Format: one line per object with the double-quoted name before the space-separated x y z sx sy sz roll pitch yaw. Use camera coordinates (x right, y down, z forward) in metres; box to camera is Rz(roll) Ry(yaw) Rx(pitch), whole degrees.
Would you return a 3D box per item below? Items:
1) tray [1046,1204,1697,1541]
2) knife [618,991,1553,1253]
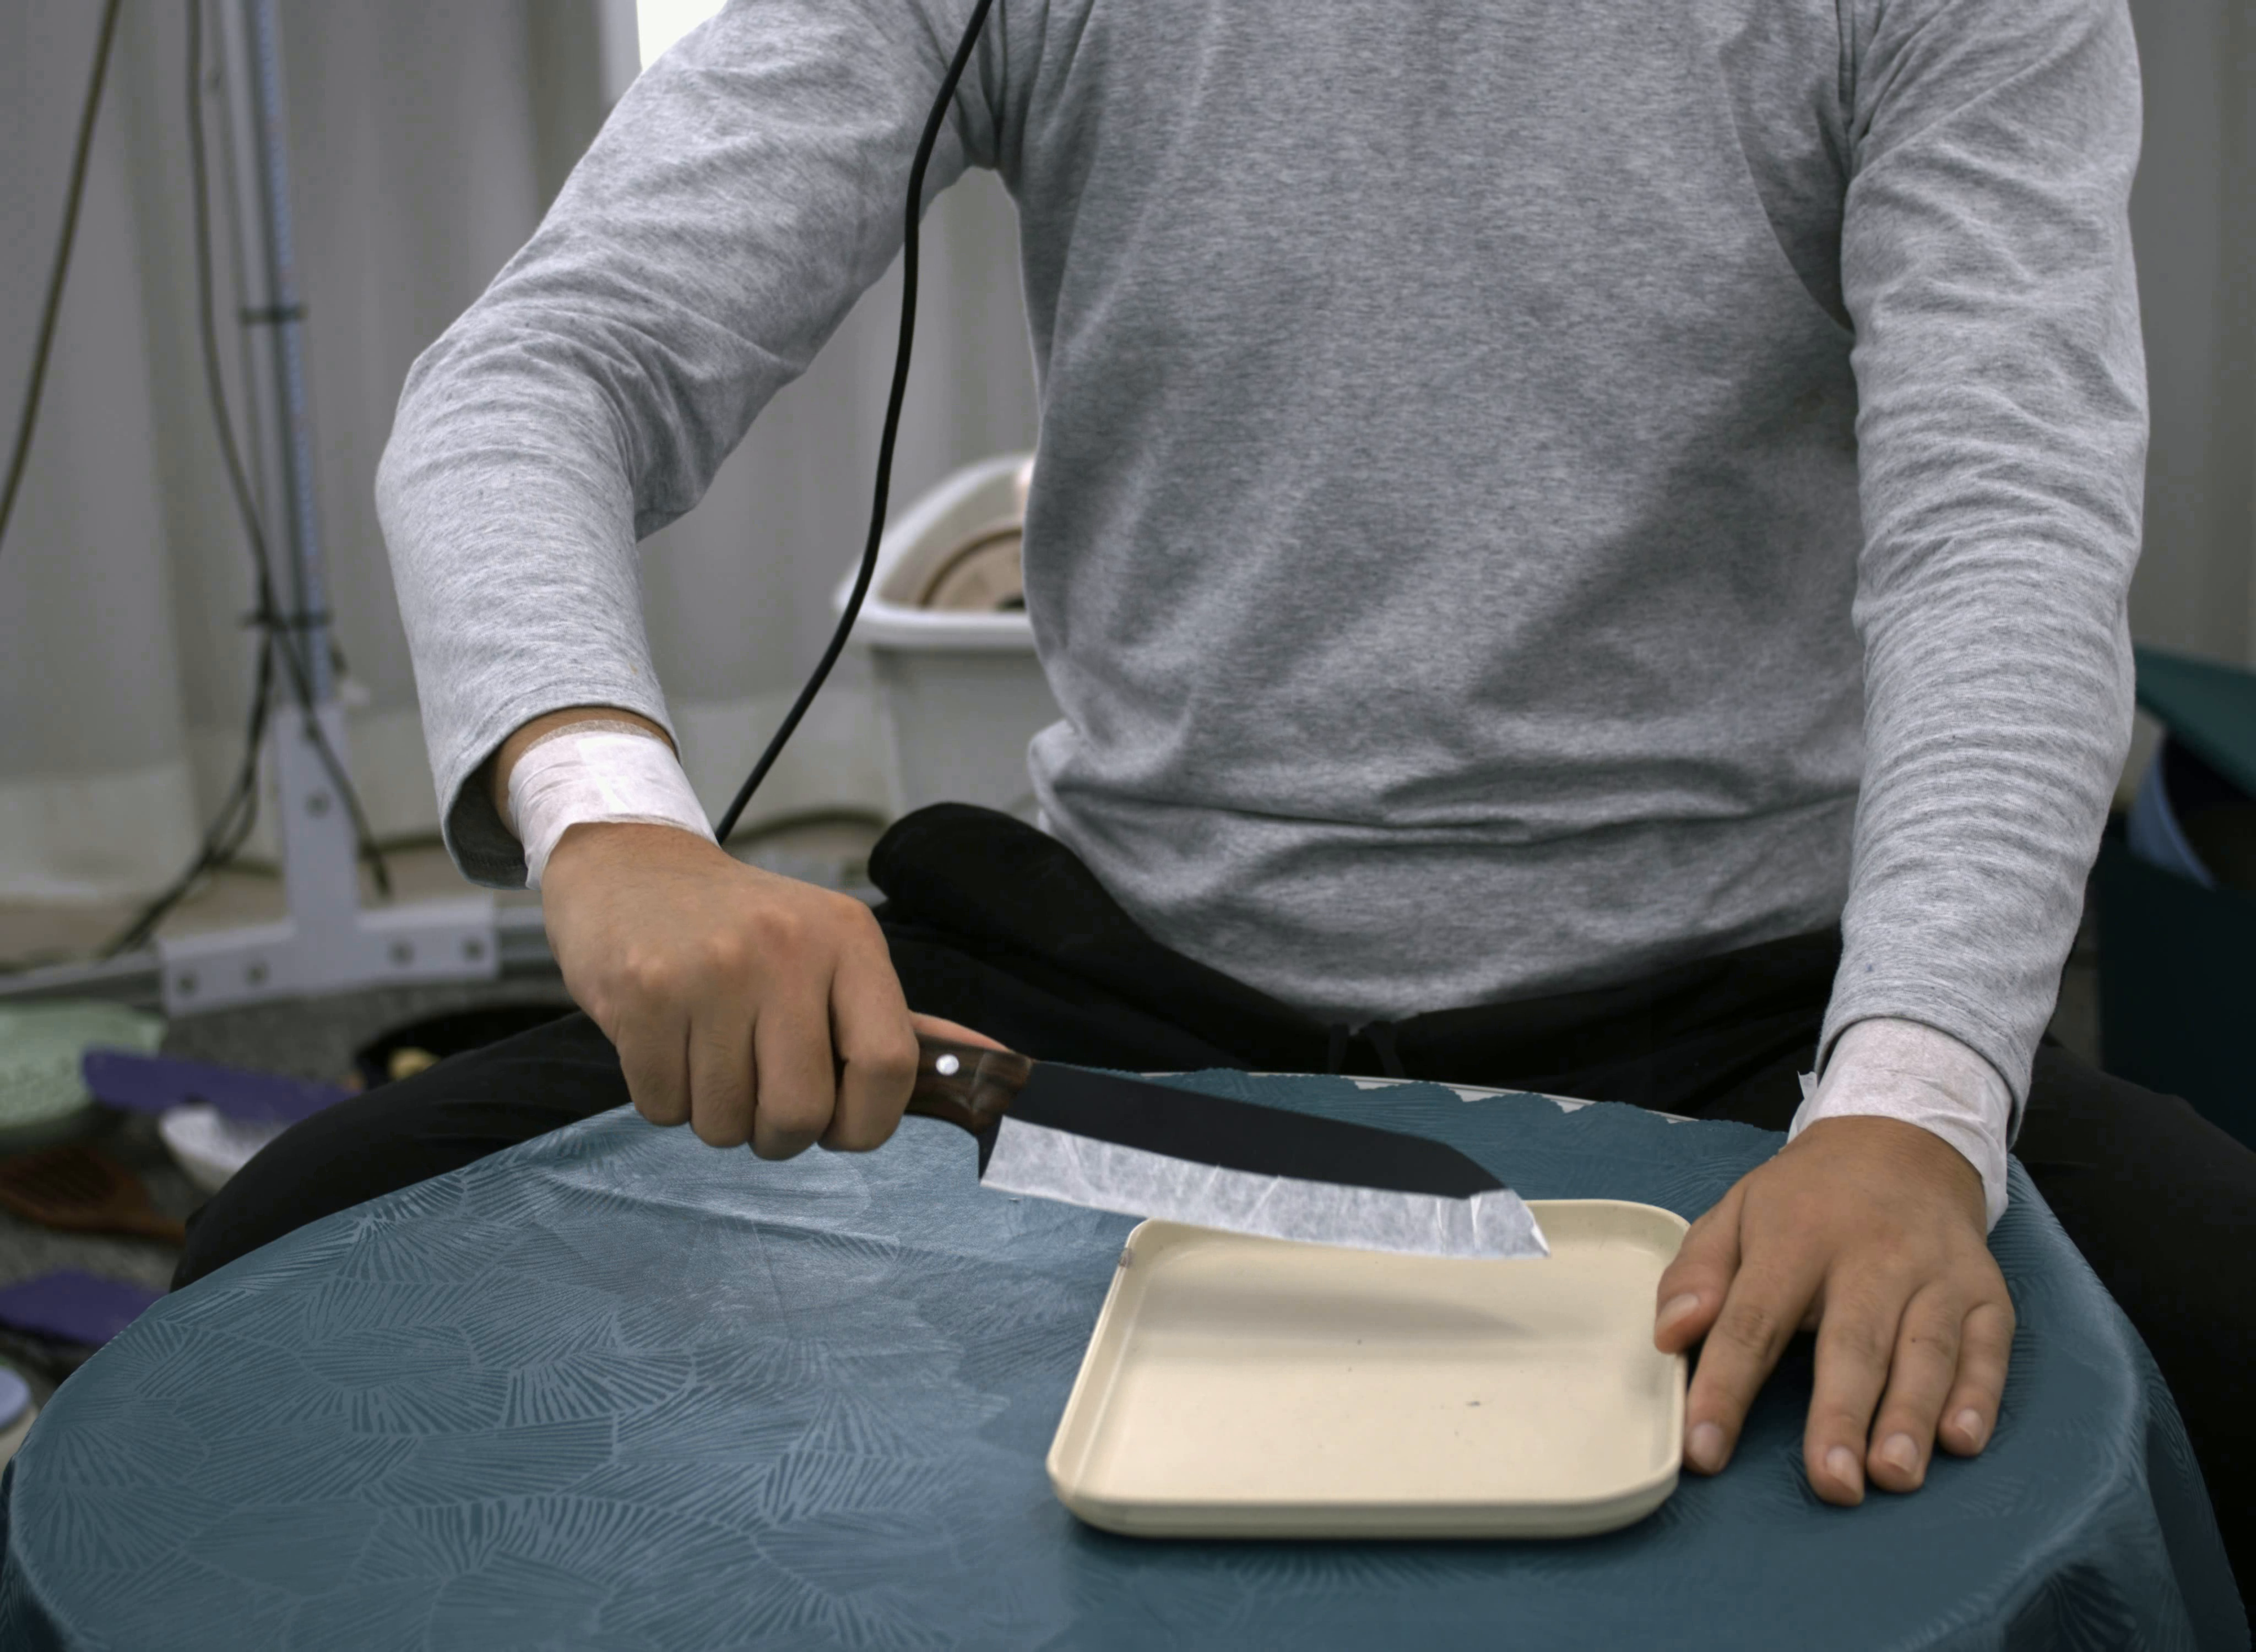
"tray" 0.073 0.152 1.531 0.171 0.017 0.241 -1 14 8
"knife" -0.016 0.087 1.588 0.289 0.020 0.051 12 59 14
